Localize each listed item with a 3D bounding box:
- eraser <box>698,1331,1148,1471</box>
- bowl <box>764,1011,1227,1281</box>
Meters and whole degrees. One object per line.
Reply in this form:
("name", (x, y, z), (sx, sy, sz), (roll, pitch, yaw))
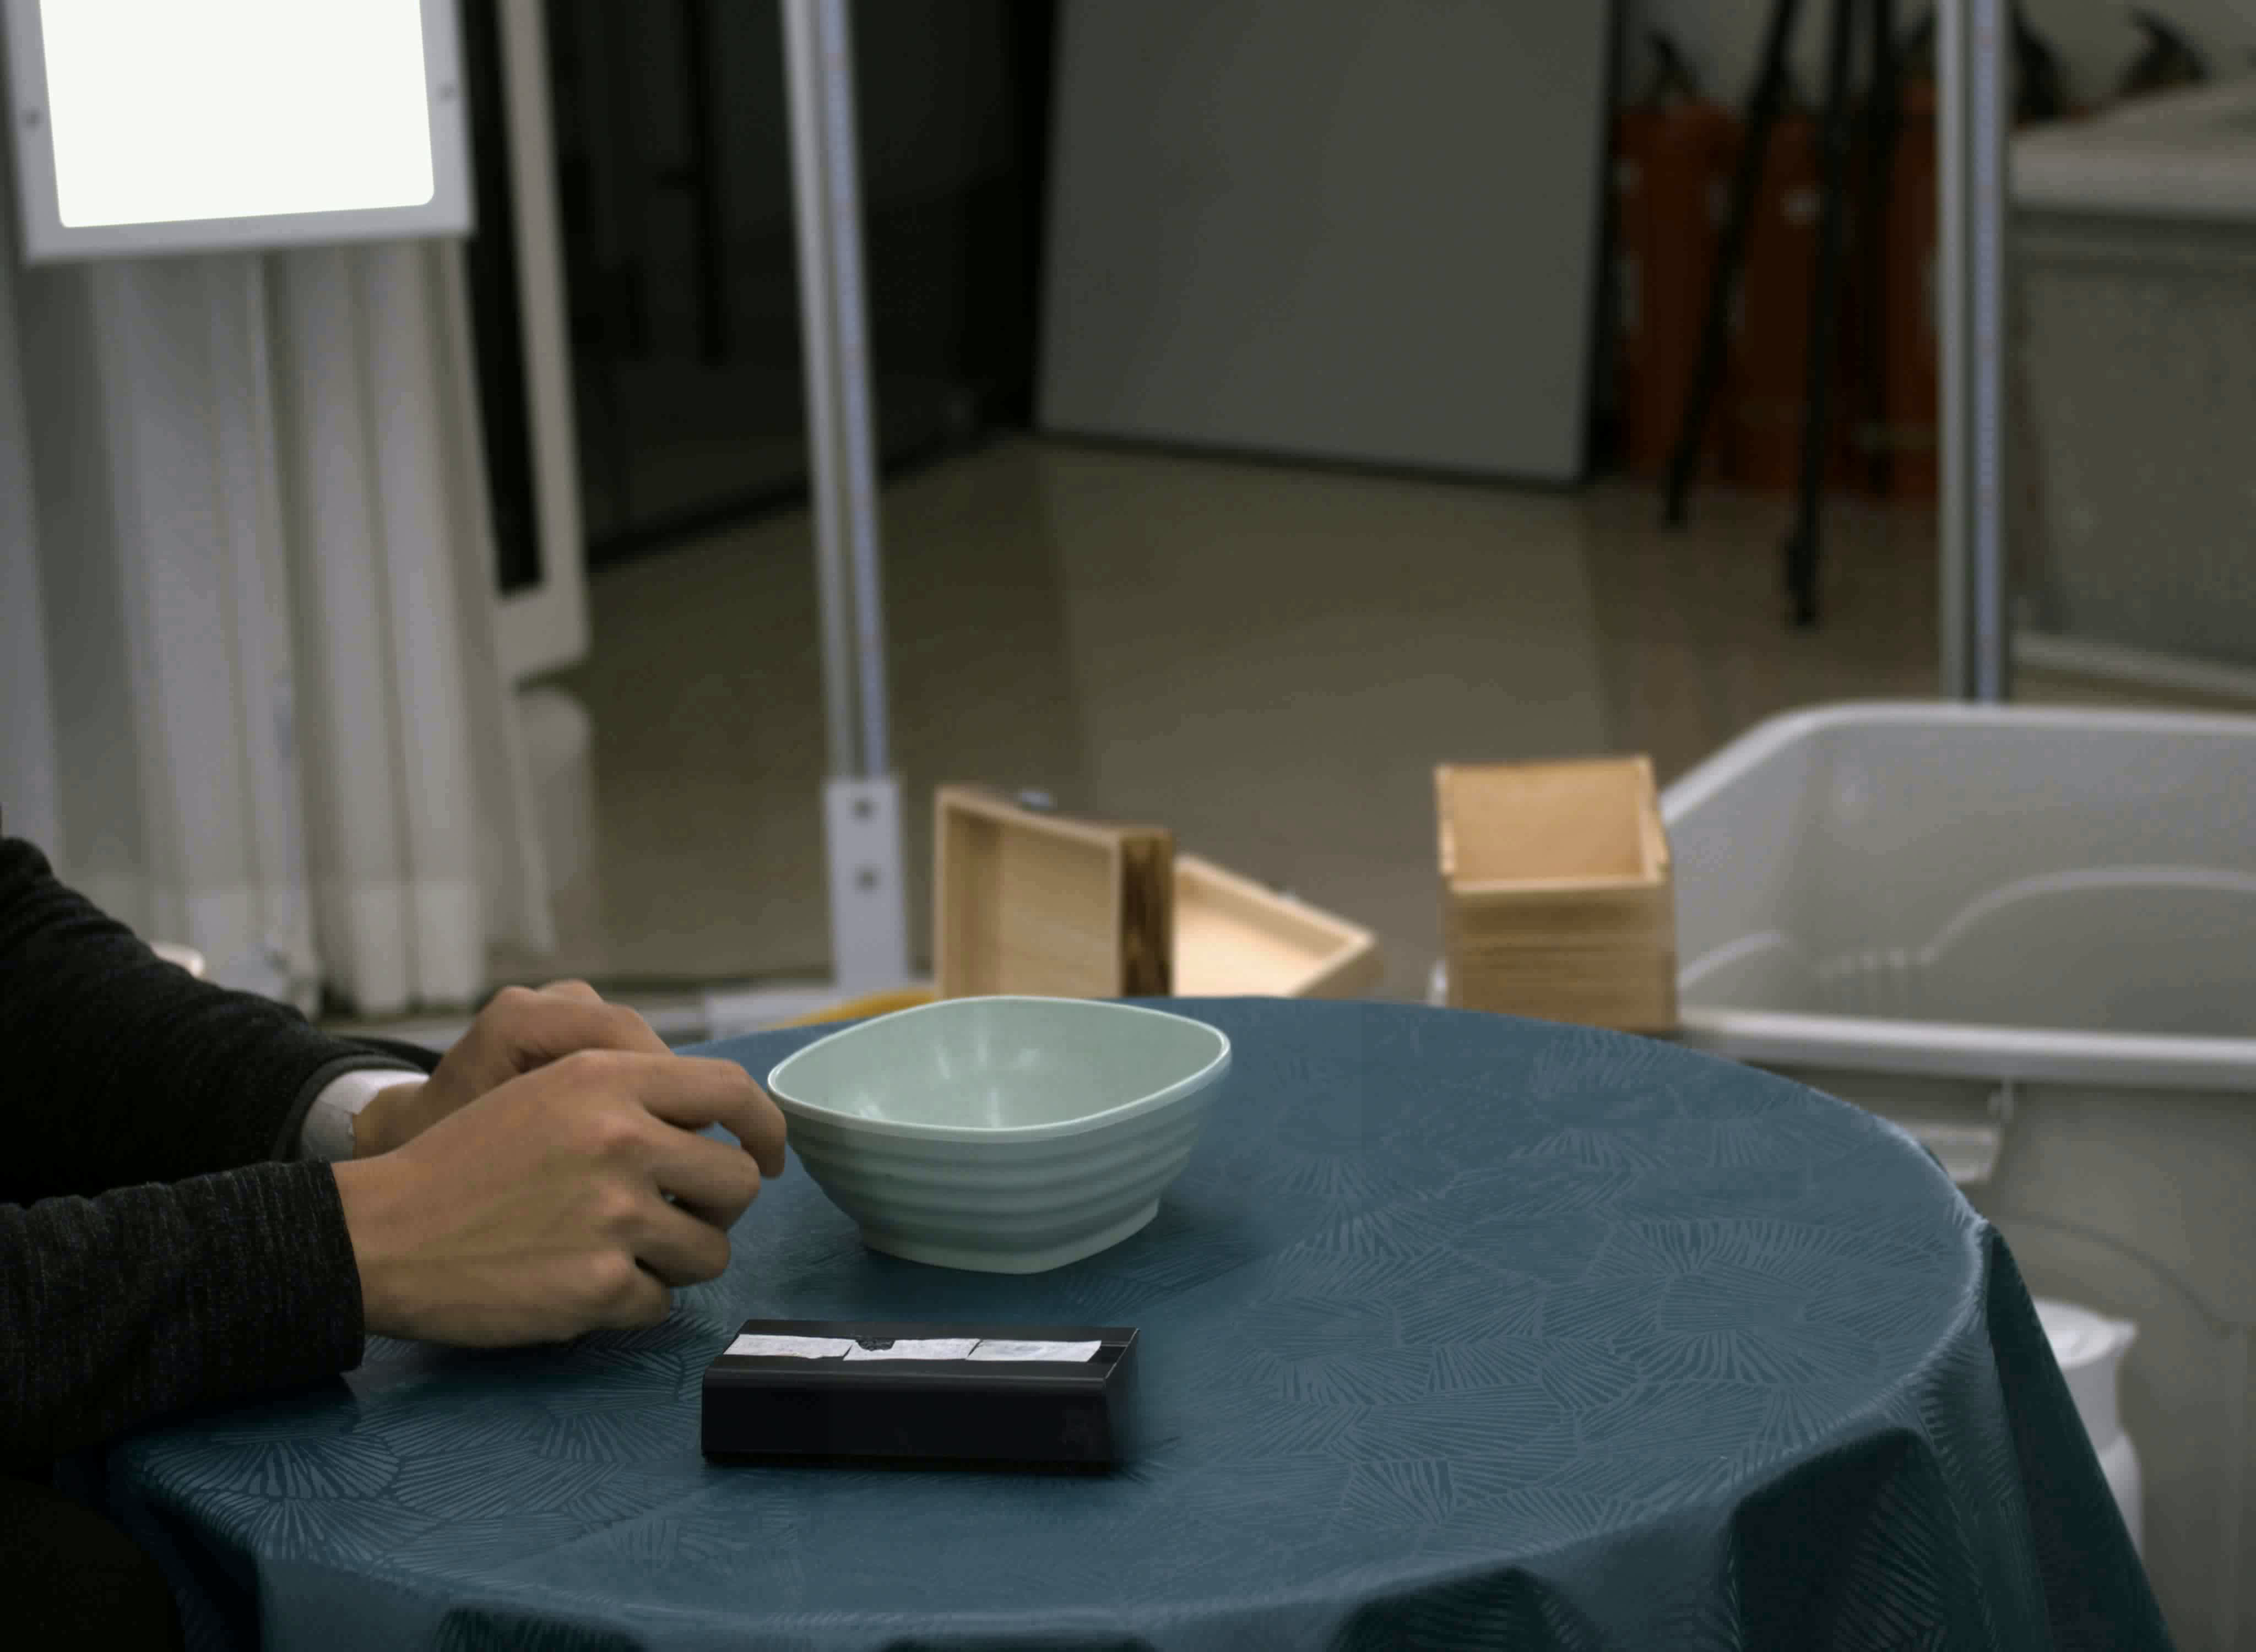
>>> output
("eraser", (-0.057, 0.165, 1.550), (0.125, 0.031, 0.053), (-1, 11, 14))
("bowl", (-0.041, 0.105, 1.734), (0.149, 0.059, 0.151), (-3, 12, 0))
